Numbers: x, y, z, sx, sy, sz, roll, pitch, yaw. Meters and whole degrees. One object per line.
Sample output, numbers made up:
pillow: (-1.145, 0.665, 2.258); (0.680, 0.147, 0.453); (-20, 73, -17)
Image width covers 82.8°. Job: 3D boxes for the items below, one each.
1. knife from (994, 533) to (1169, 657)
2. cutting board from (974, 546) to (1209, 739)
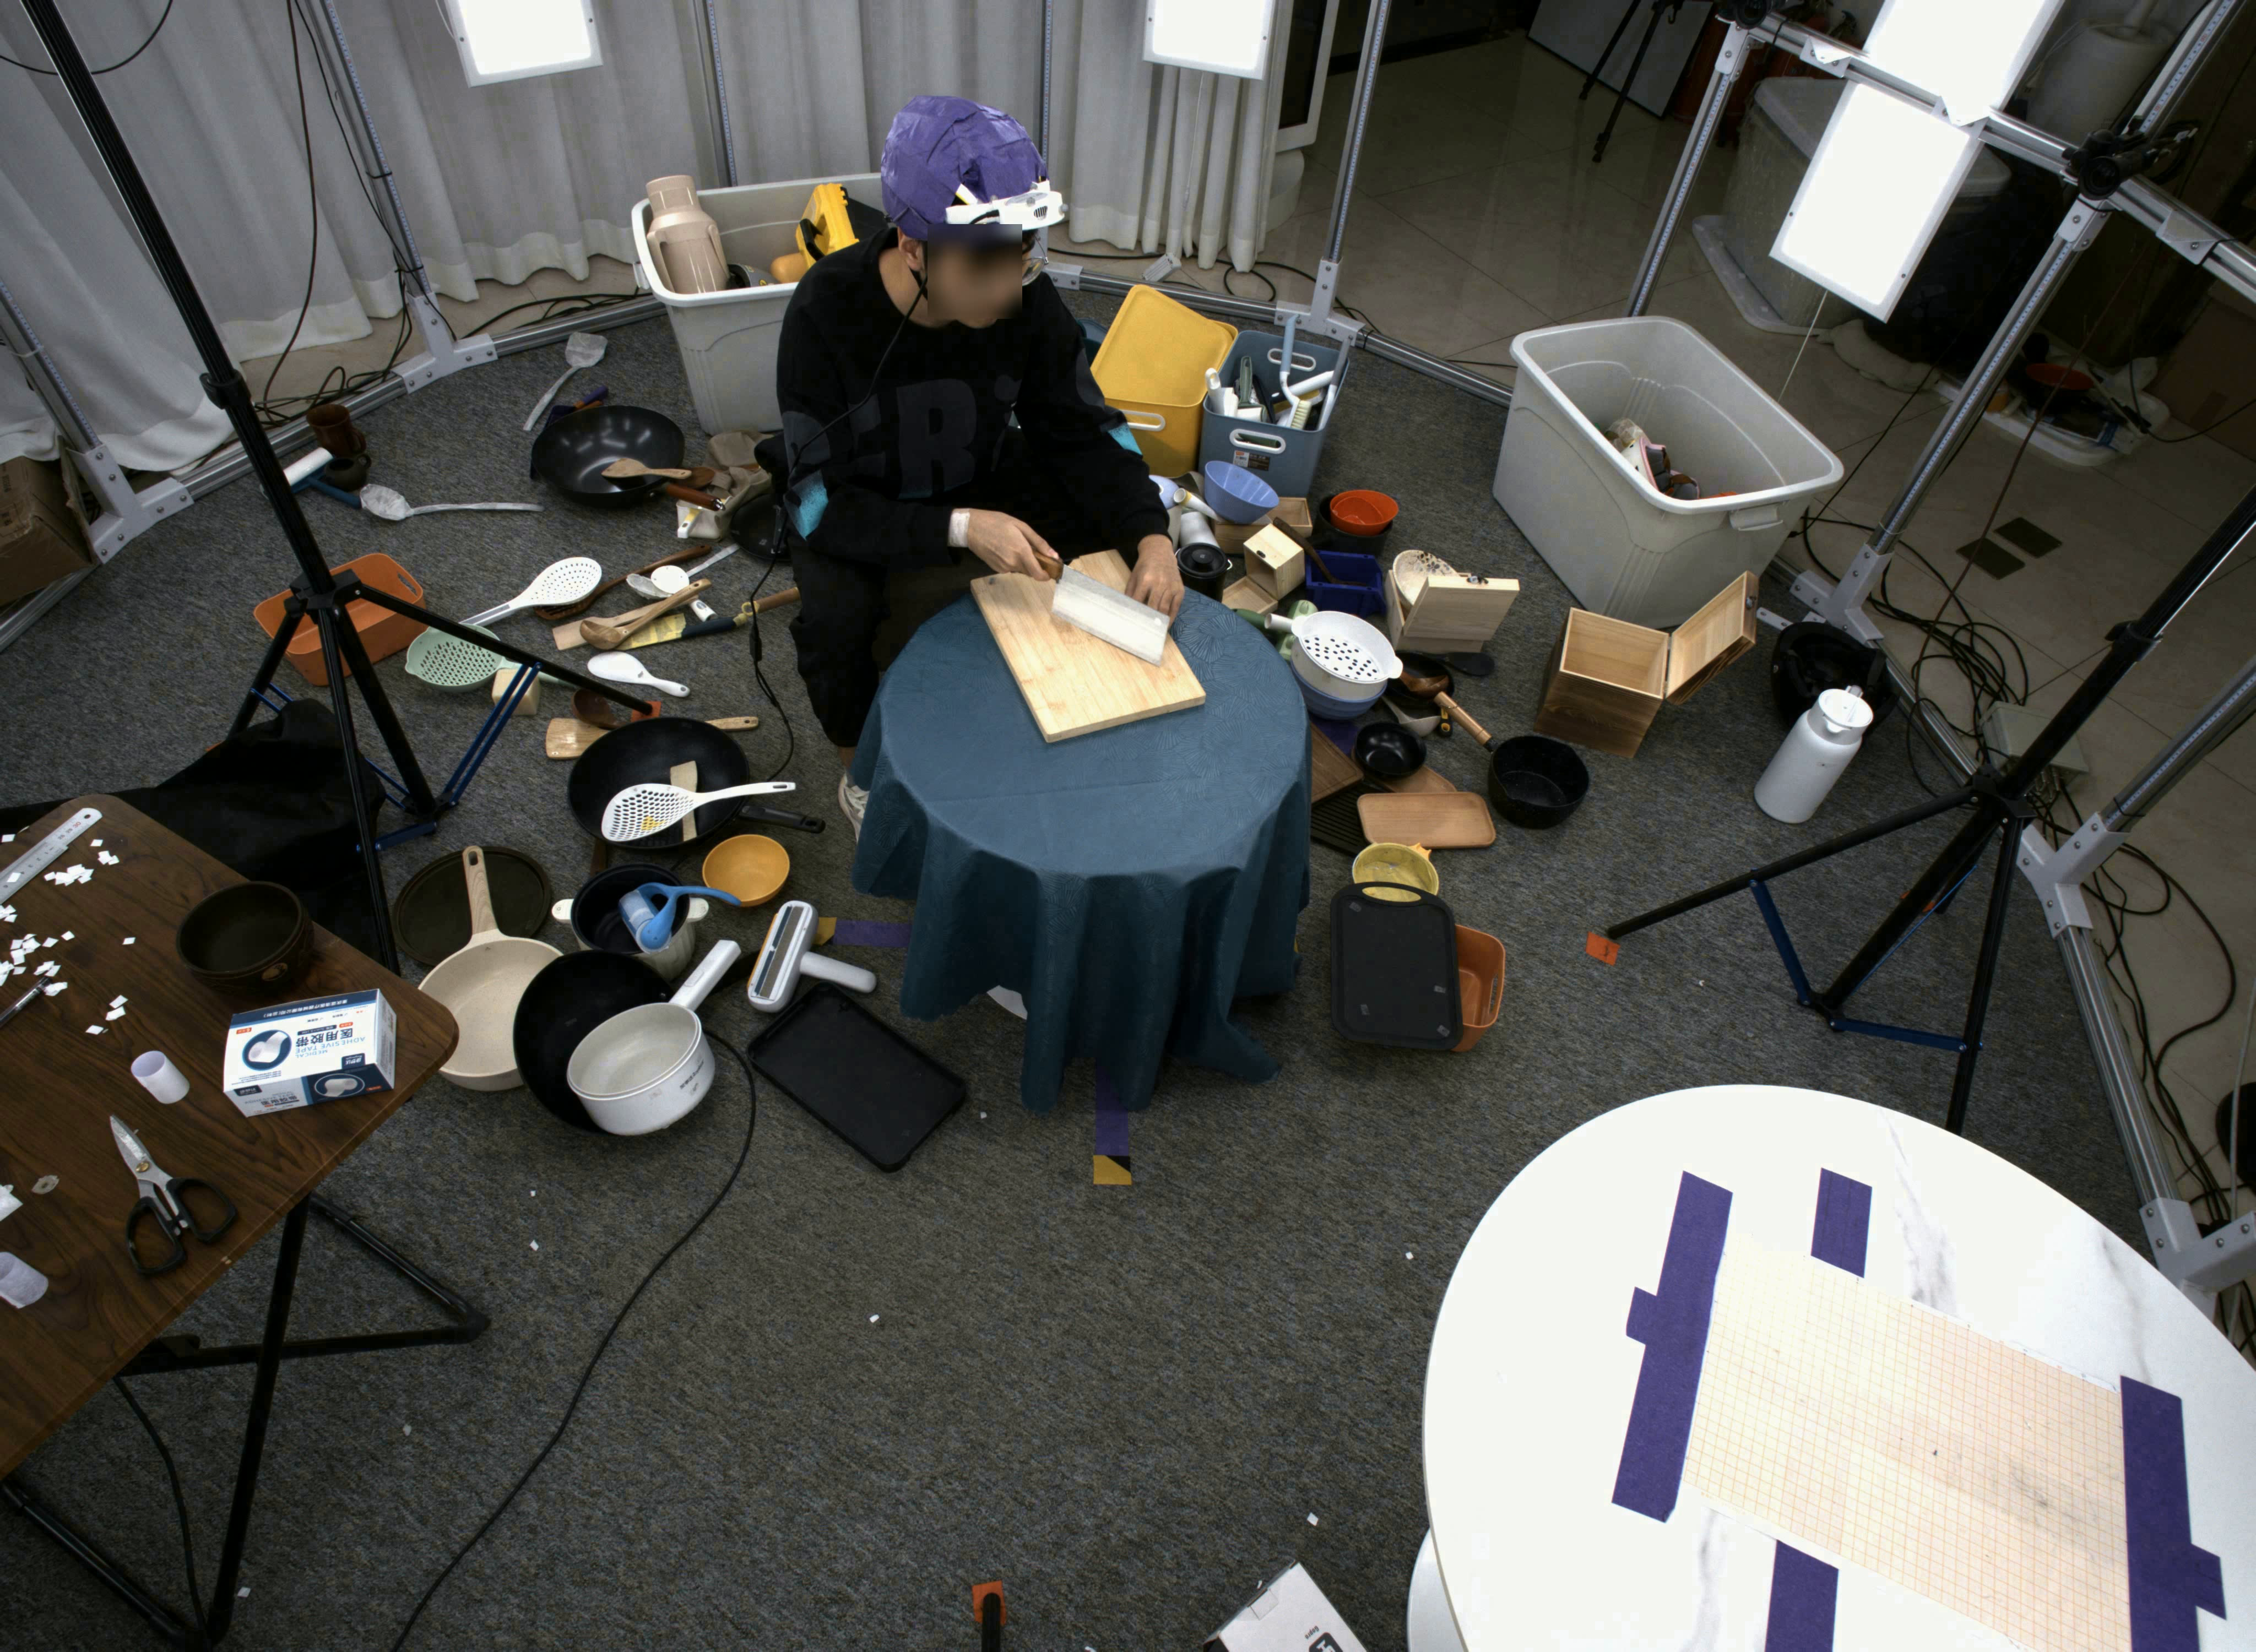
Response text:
knife: (-0.071, -0.331, 1.863); (0.309, 0.091, 0.021); (30, 47, 19)
cutting board: (-0.060, -0.277, 1.894); (0.251, 0.023, 0.357); (-16, 52, -17)
